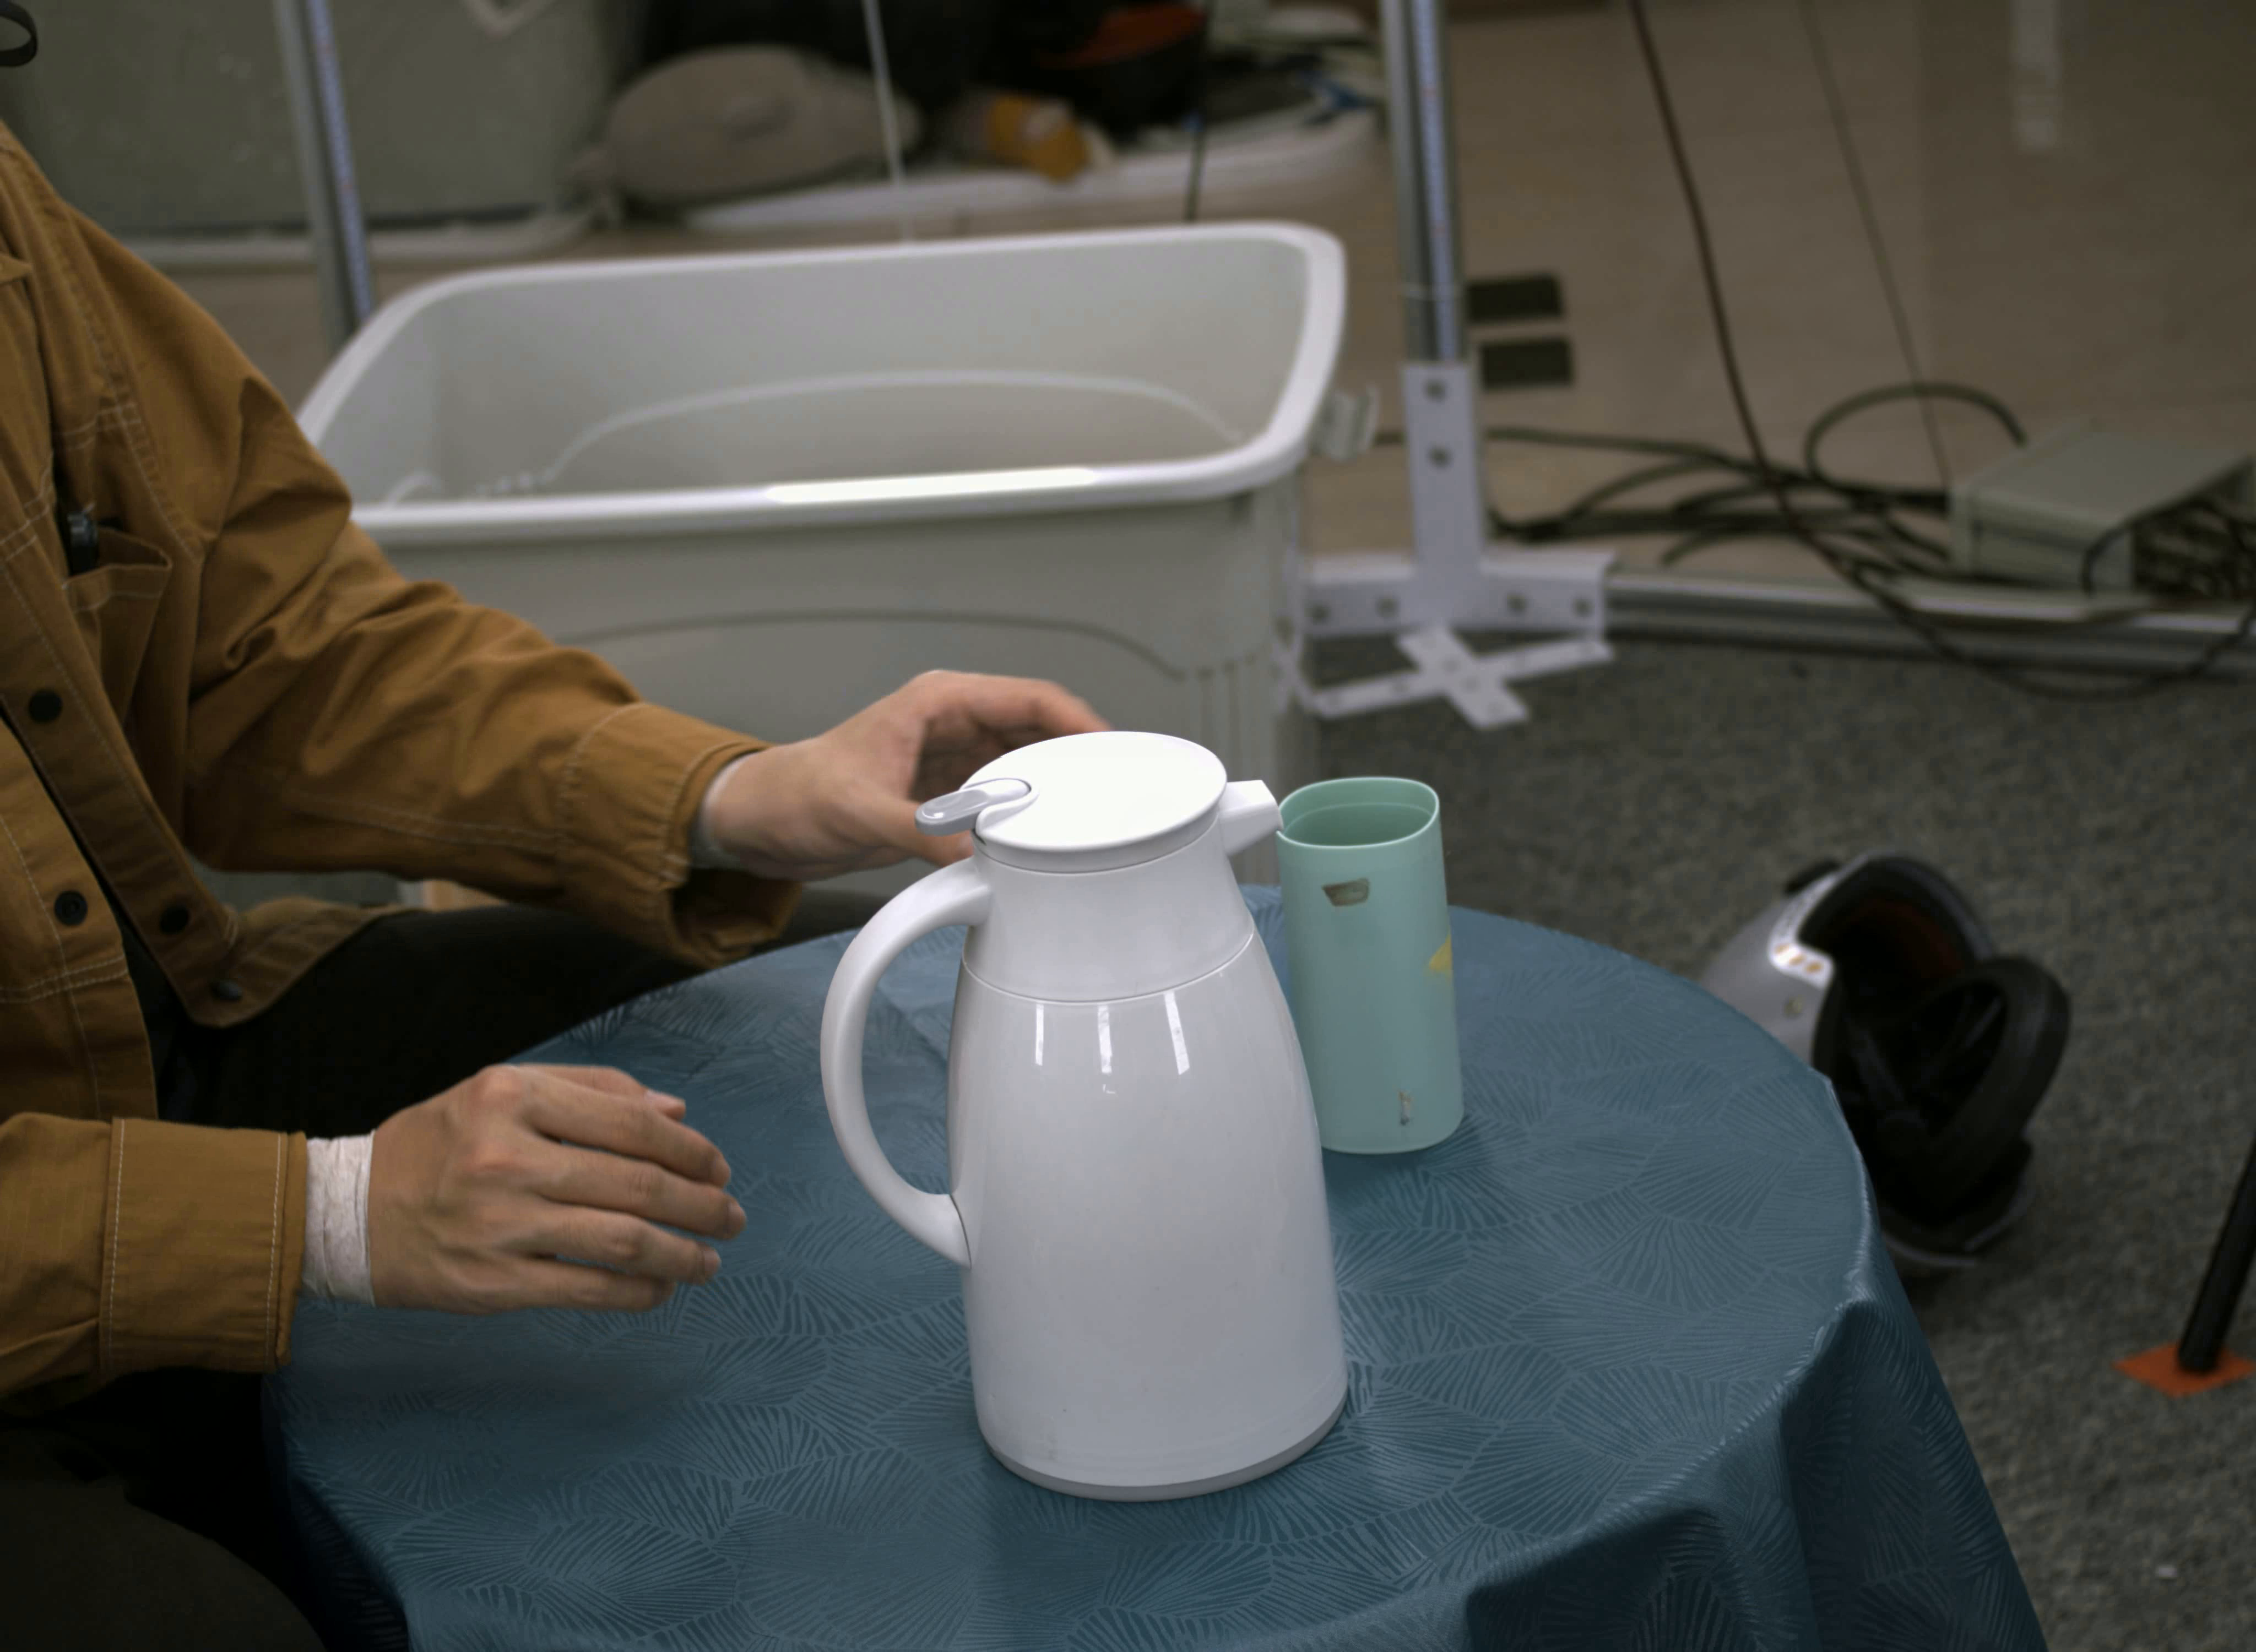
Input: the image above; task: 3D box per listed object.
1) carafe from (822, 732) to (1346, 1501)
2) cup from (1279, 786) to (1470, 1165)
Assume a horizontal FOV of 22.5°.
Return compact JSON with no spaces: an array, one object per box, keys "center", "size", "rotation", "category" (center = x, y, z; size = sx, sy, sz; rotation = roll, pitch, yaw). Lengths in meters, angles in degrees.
[{"center":[-0.018,0.097,1.947],"size":[0.167,0.252,0.130],"rotation":[-12,27,-11],"category":"carafe"},{"center":[0.093,0.057,2.155],"size":[0.066,0.134,0.066],"rotation":[-5,25,2],"category":"cup"}]
